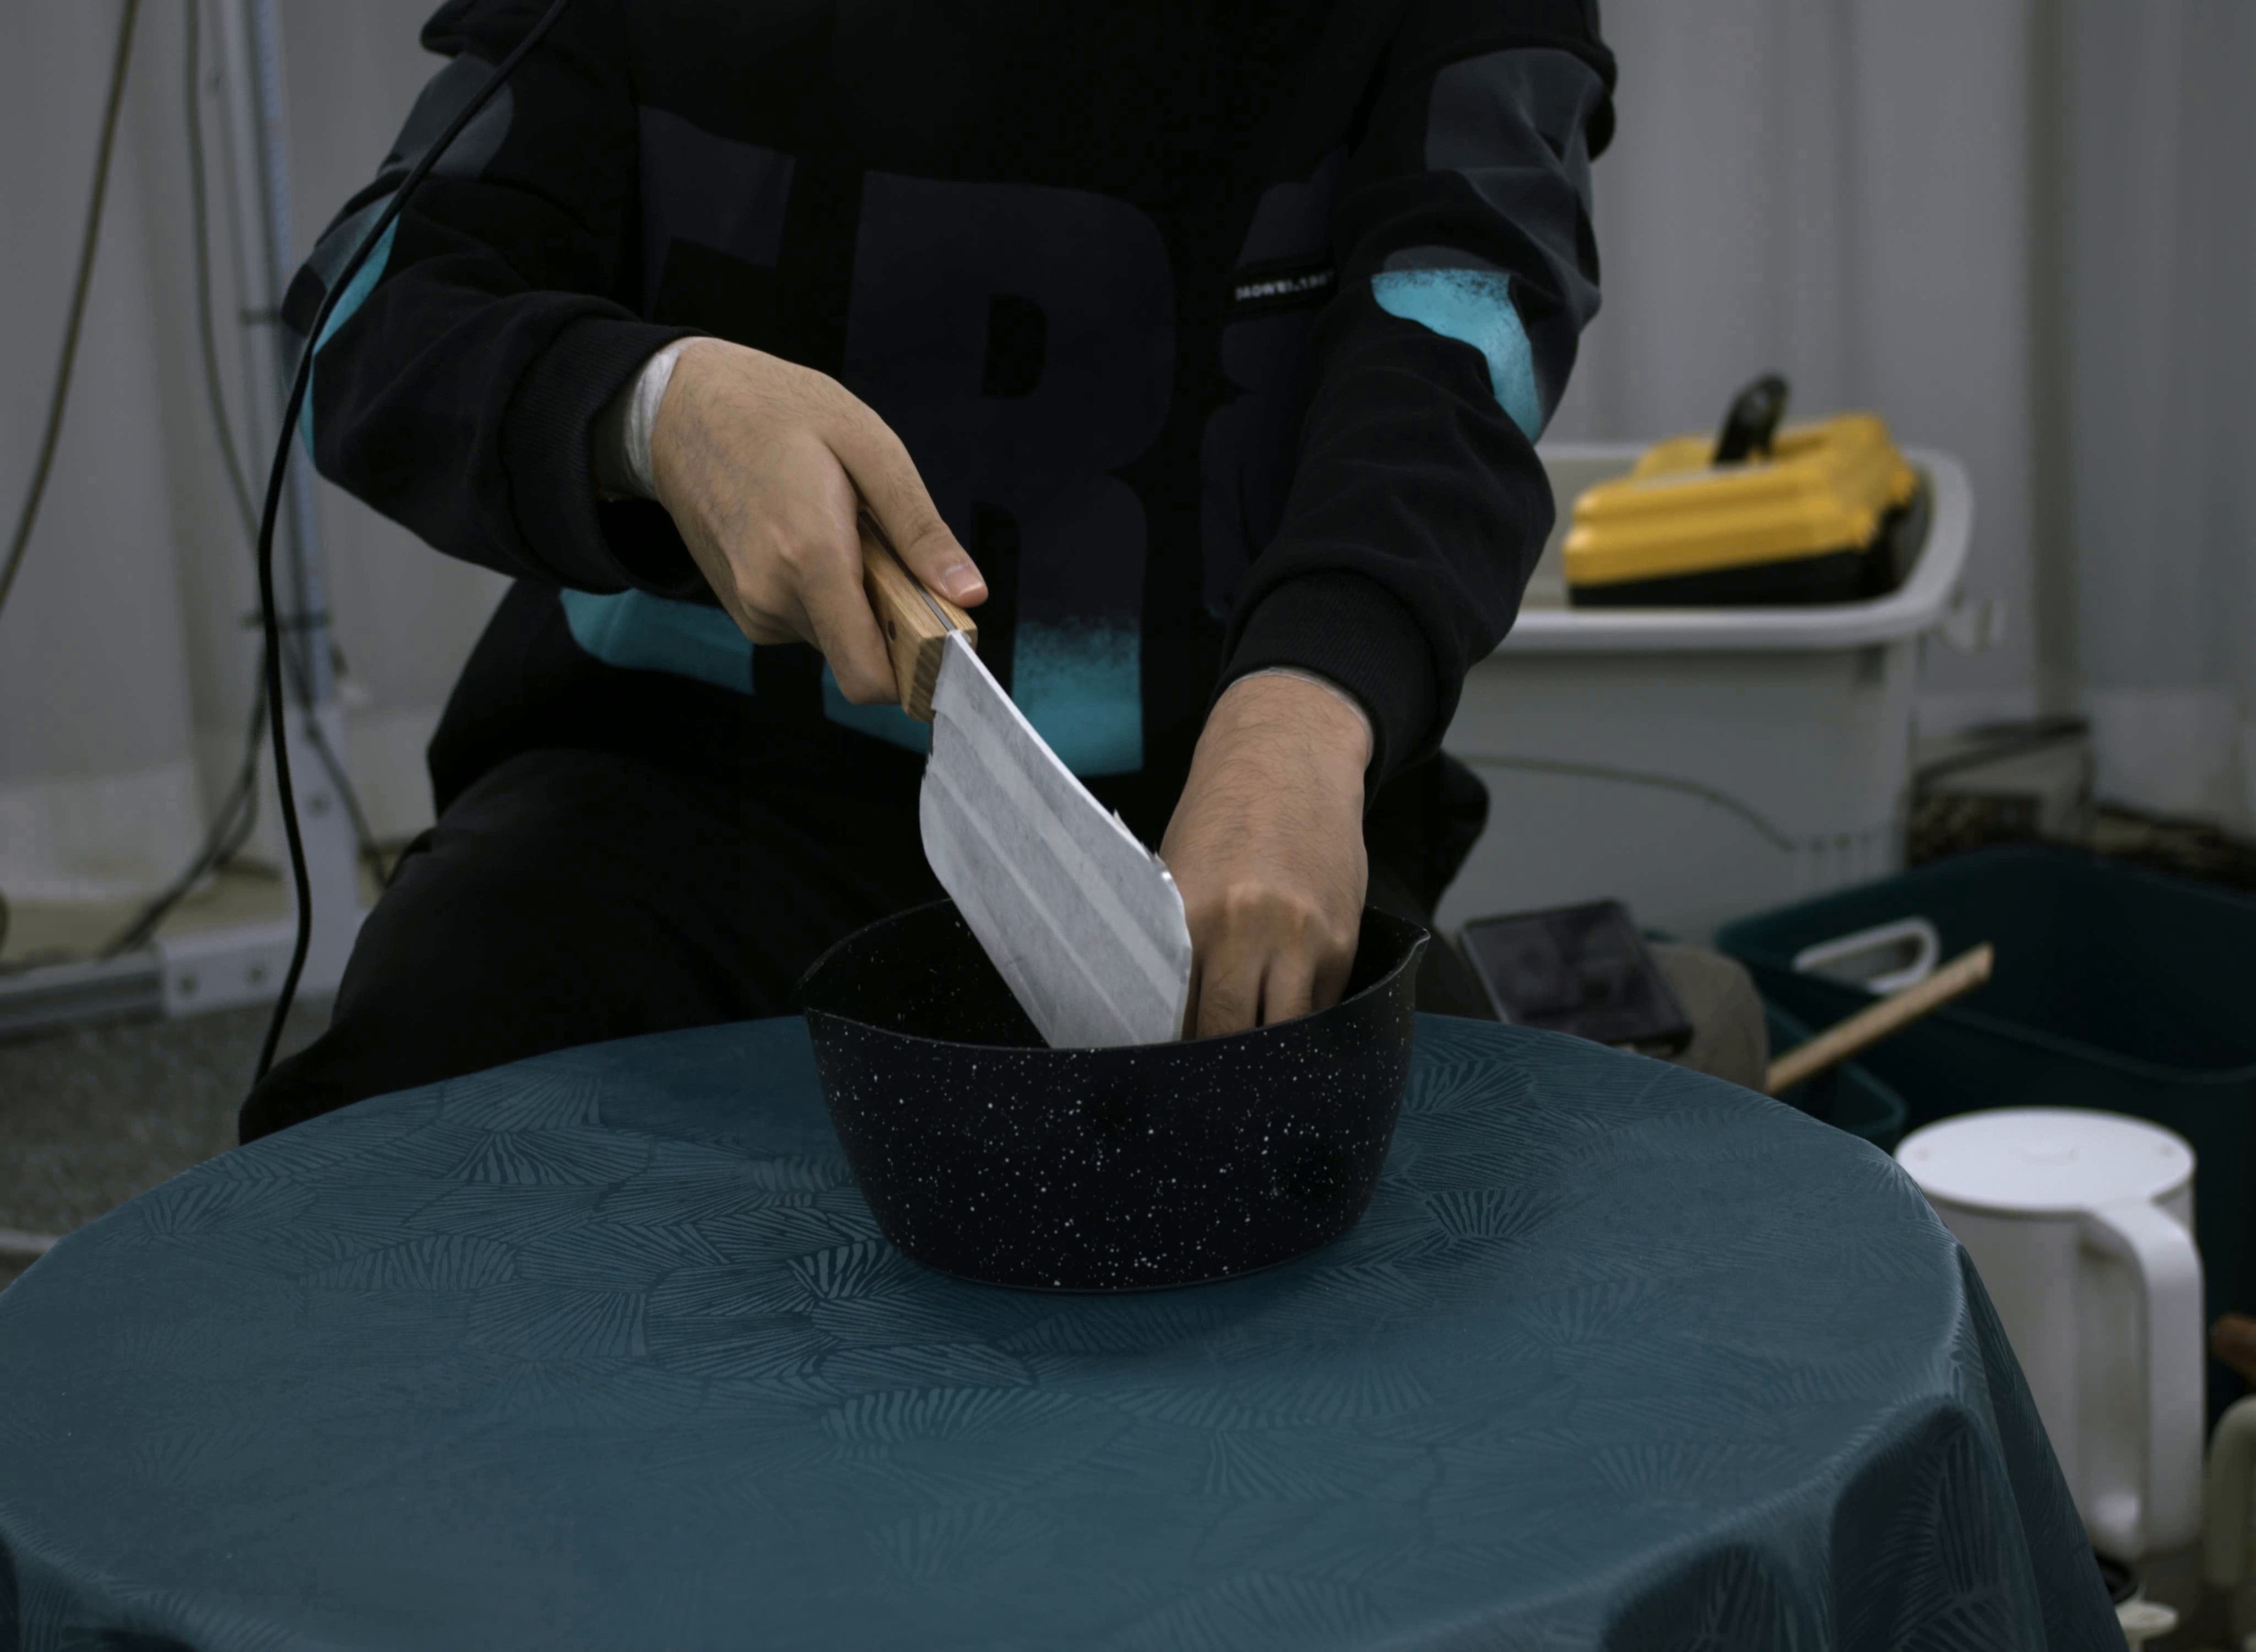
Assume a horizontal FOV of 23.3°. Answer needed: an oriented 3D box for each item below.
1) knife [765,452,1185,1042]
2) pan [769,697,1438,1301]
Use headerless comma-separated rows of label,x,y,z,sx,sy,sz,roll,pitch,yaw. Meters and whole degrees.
knife,-0.048,-0.022,1.711,0.021,0.113,0.320,-8,40,-24
pan,-0.021,0.049,1.754,0.206,0.108,0.346,-7,17,-11
